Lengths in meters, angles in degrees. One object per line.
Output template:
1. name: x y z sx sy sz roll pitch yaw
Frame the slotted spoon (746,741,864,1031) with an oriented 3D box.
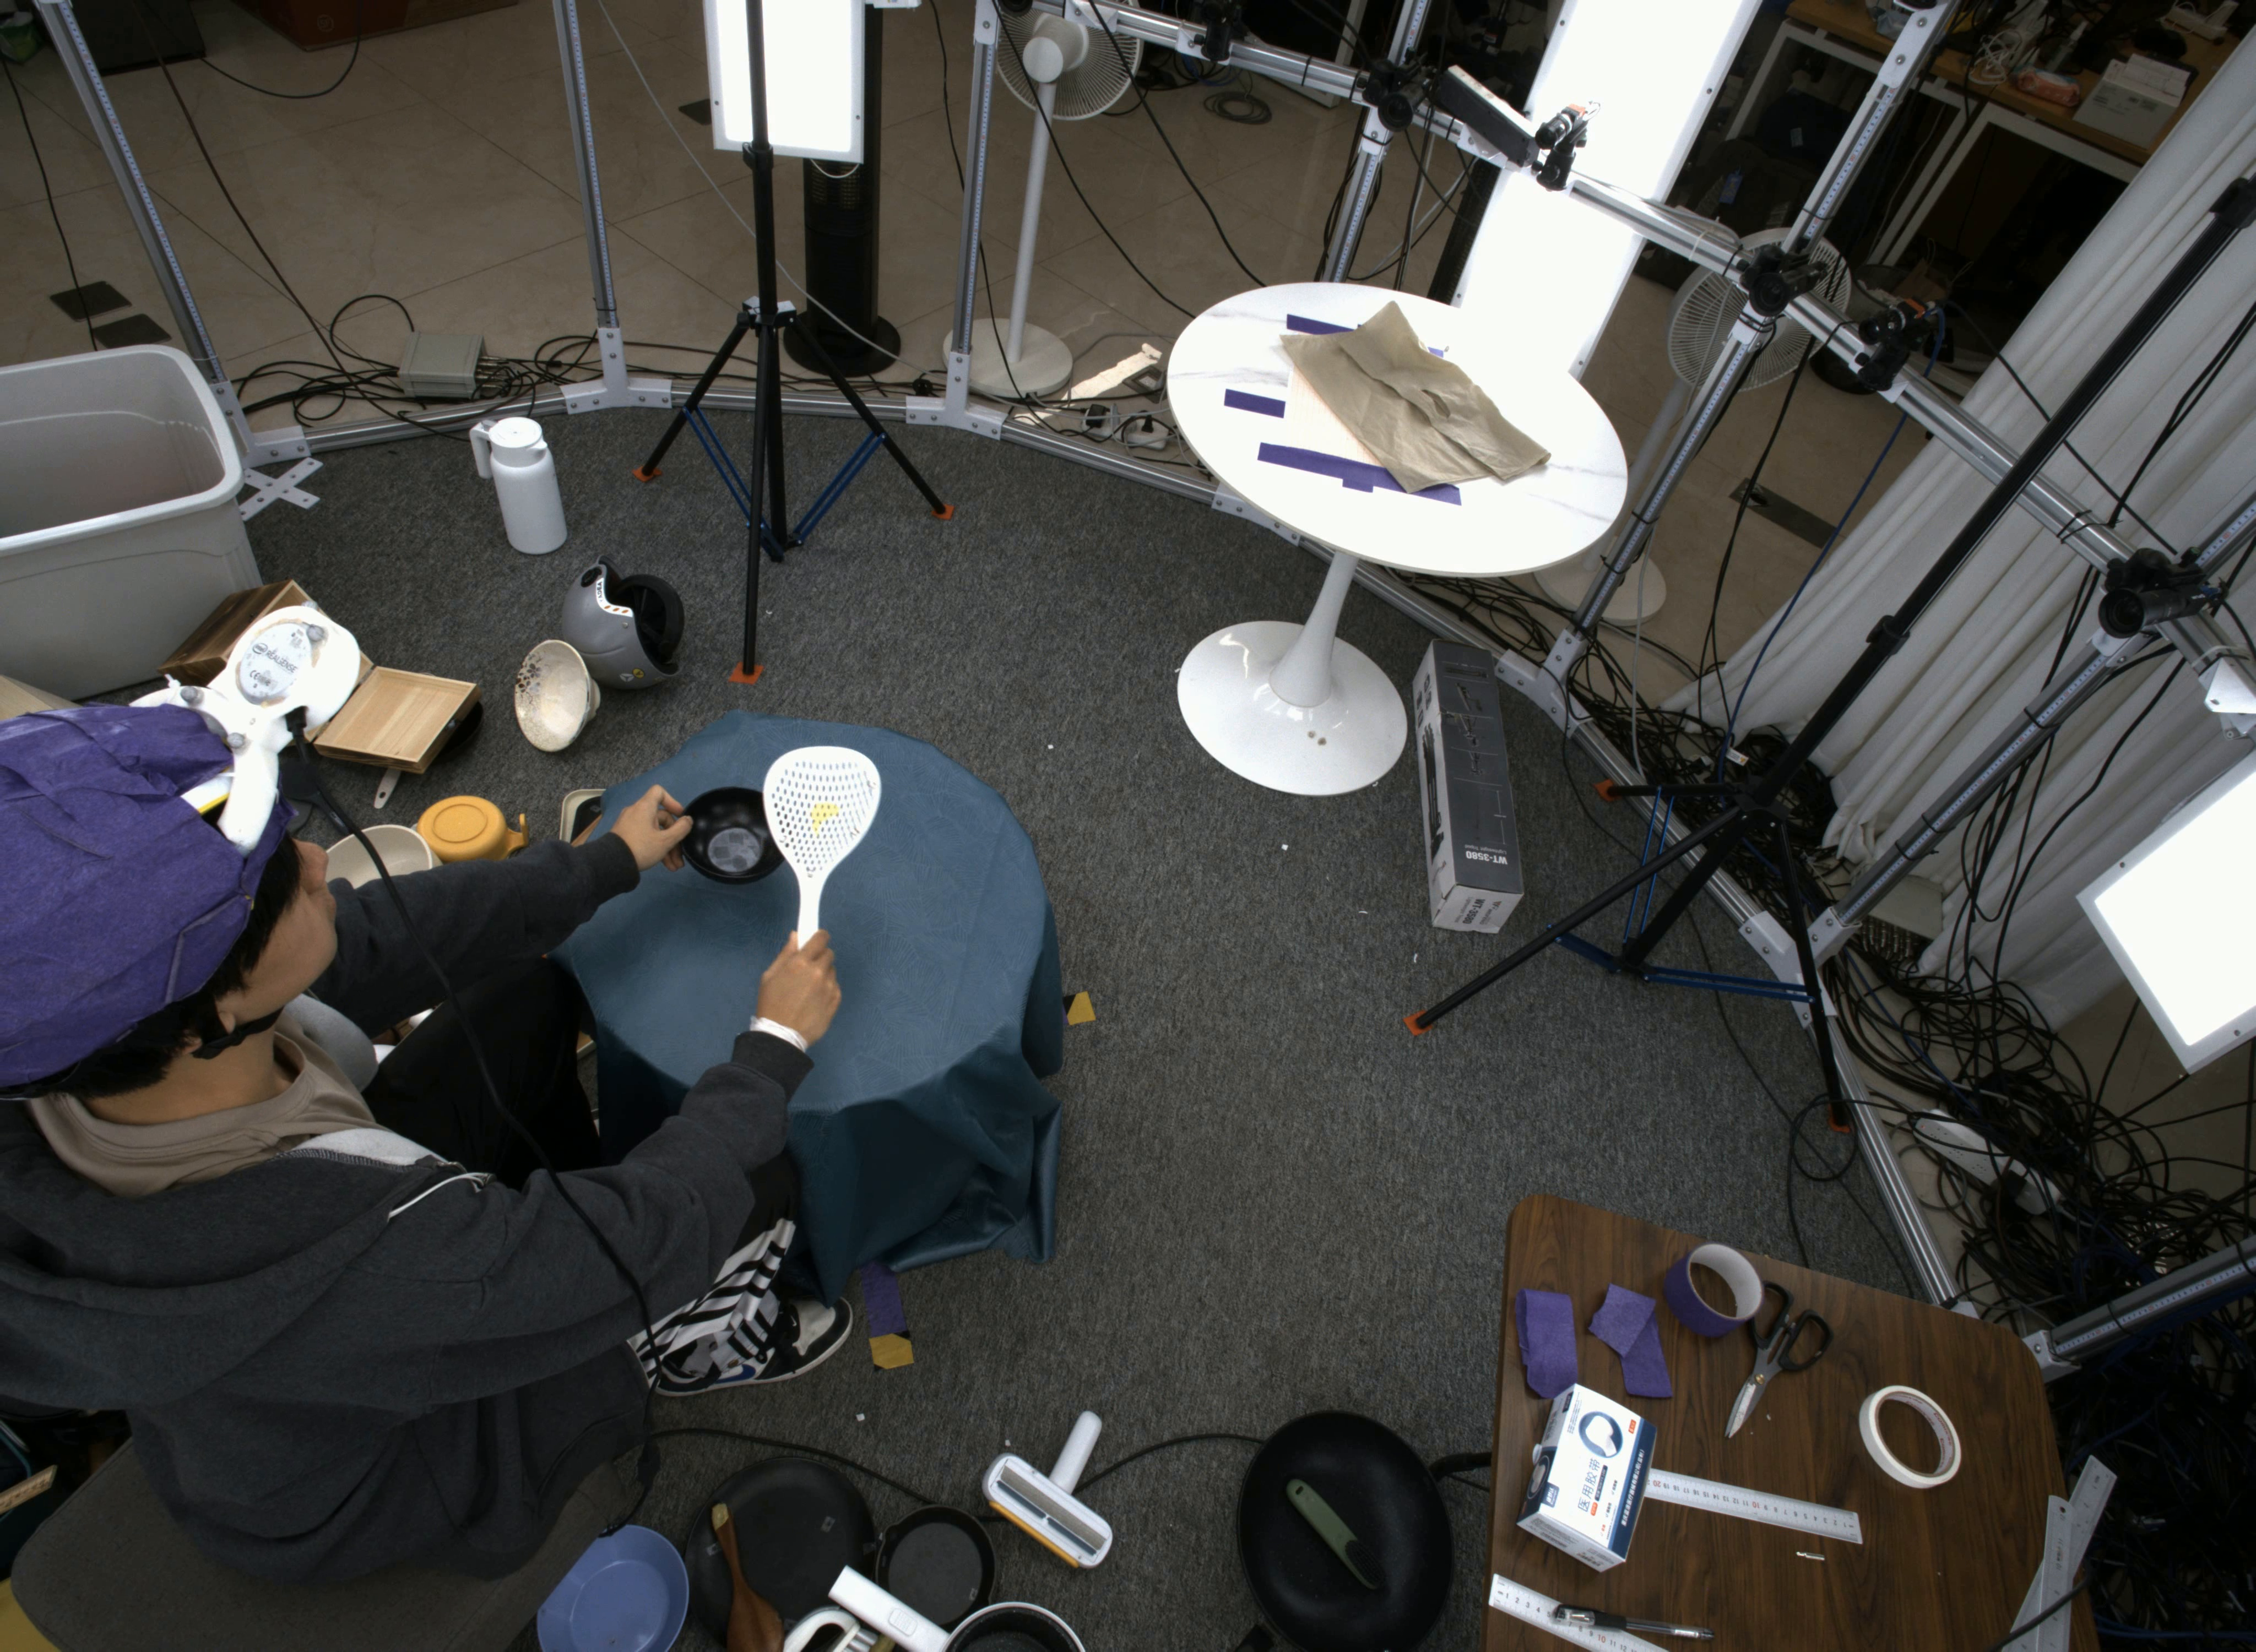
1. slotted spoon: -0.369 0.059 1.471 0.136 0.051 0.342 -1 60 -7

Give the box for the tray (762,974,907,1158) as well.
1. tray: -0.486 0.385 2.135 0.192 0.028 0.293 -8 56 -20
